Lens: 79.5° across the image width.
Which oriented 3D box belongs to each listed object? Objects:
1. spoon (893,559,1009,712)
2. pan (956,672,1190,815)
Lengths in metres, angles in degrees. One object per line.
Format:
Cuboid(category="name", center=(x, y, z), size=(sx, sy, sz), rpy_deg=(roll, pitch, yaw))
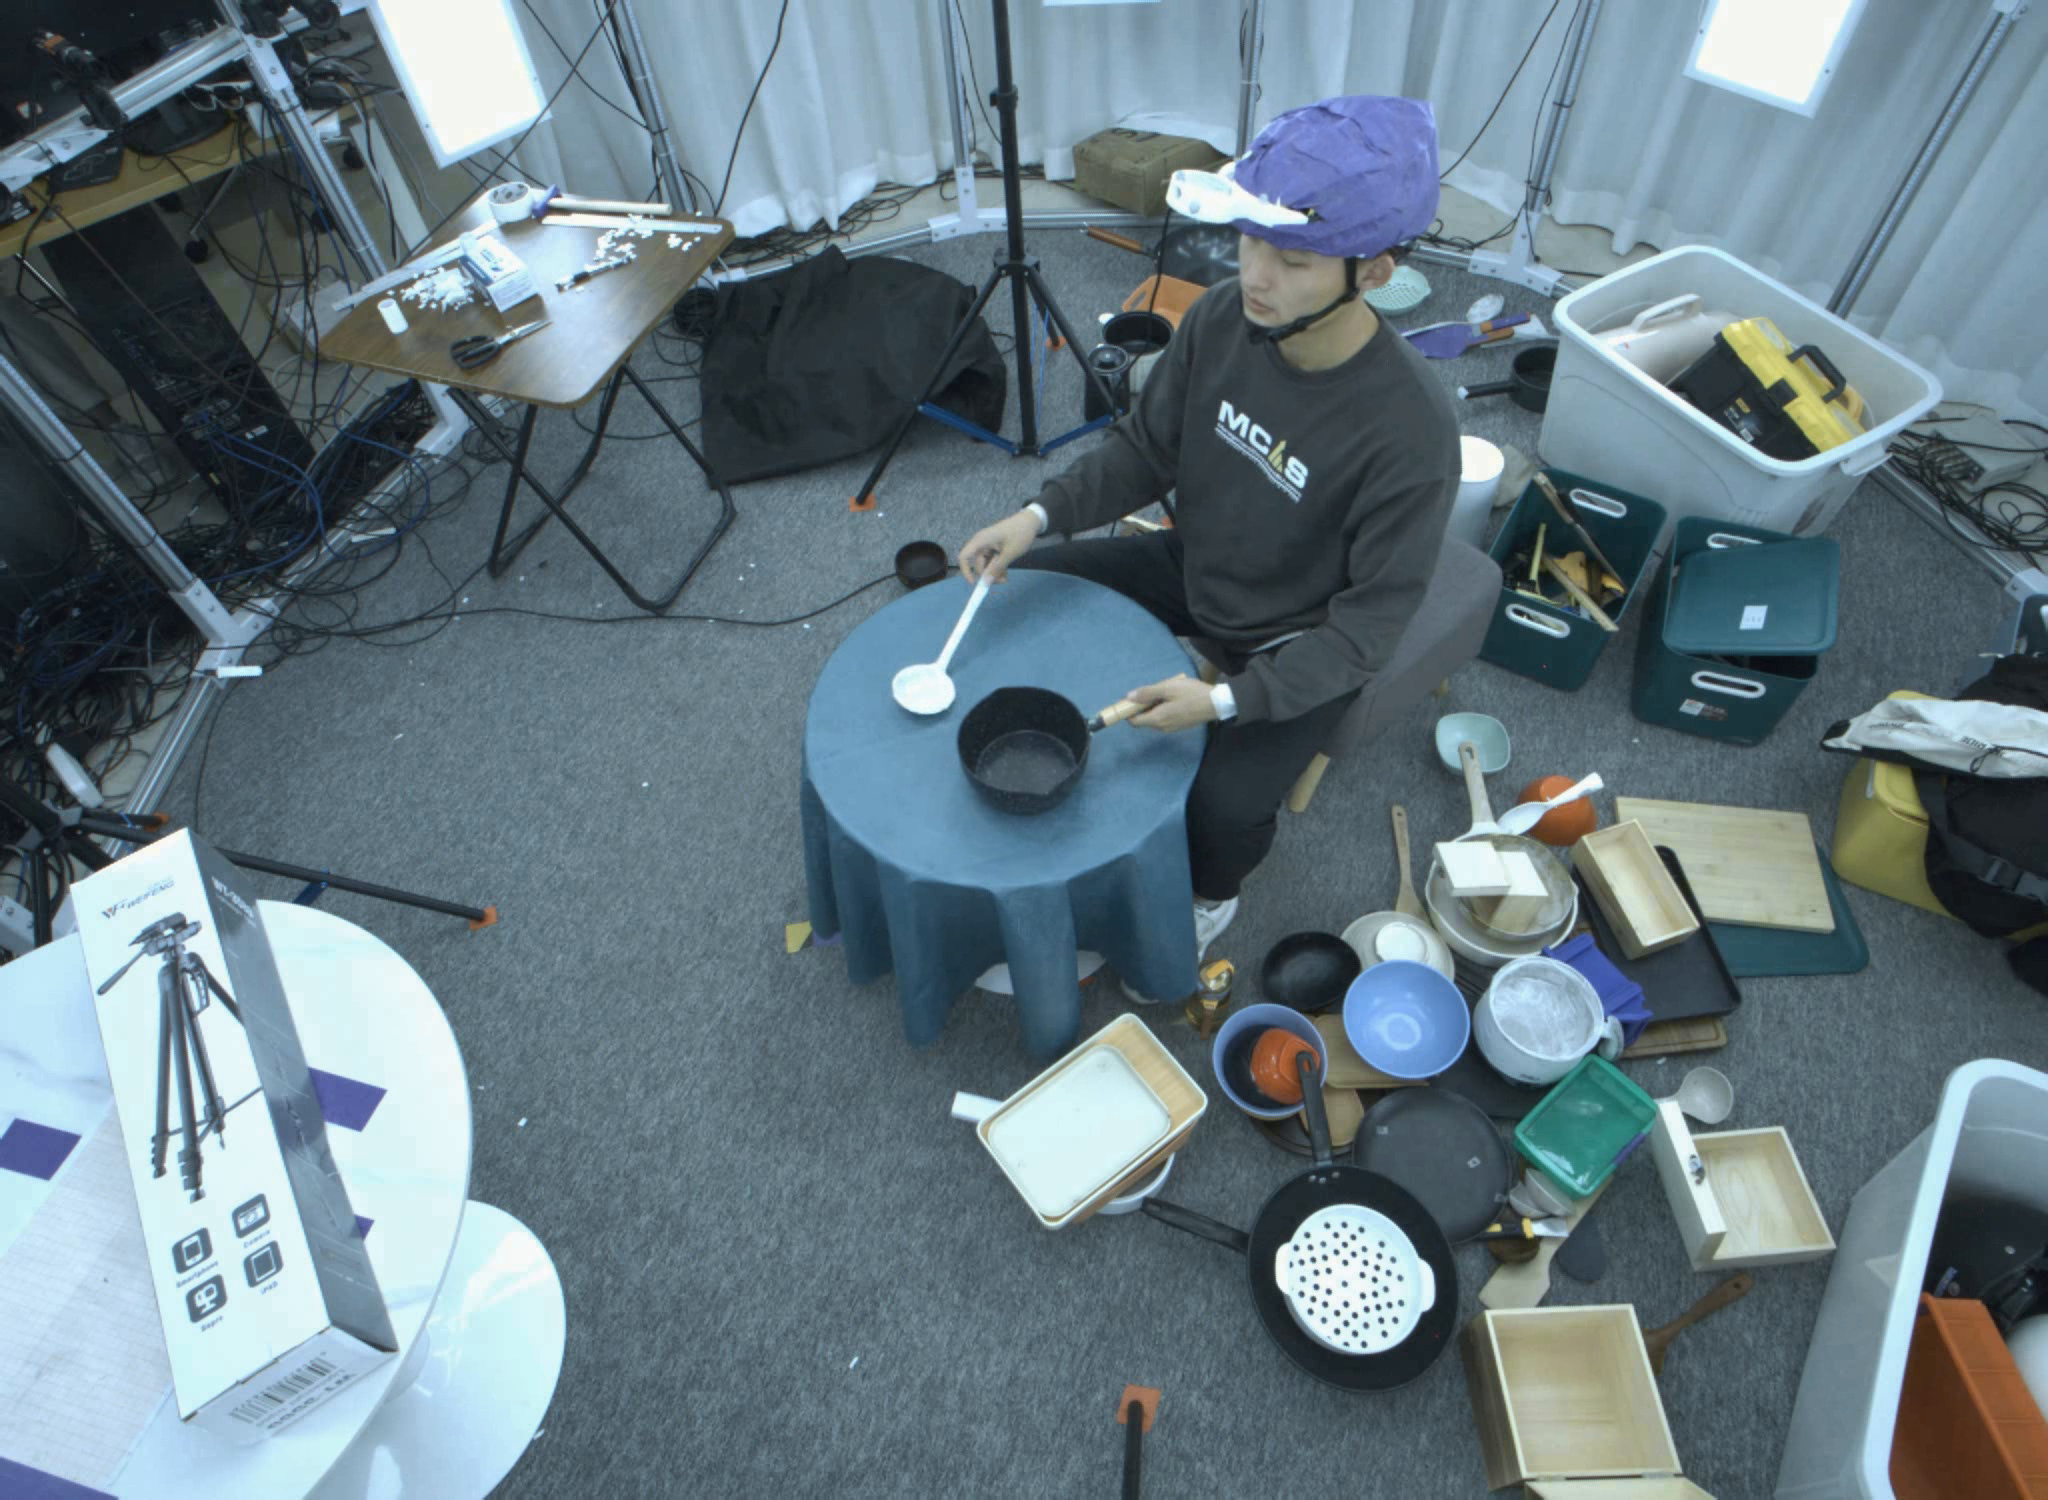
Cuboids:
Cuboid(category="spoon", center=(-0.097, -0.177, 1.848), size=(0.100, 0.060, 0.277), rpy_deg=(30, 86, 7))
Cuboid(category="pan", center=(0.074, -0.025, 1.745), size=(0.345, 0.109, 0.204), rpy_deg=(-19, 55, -10))
